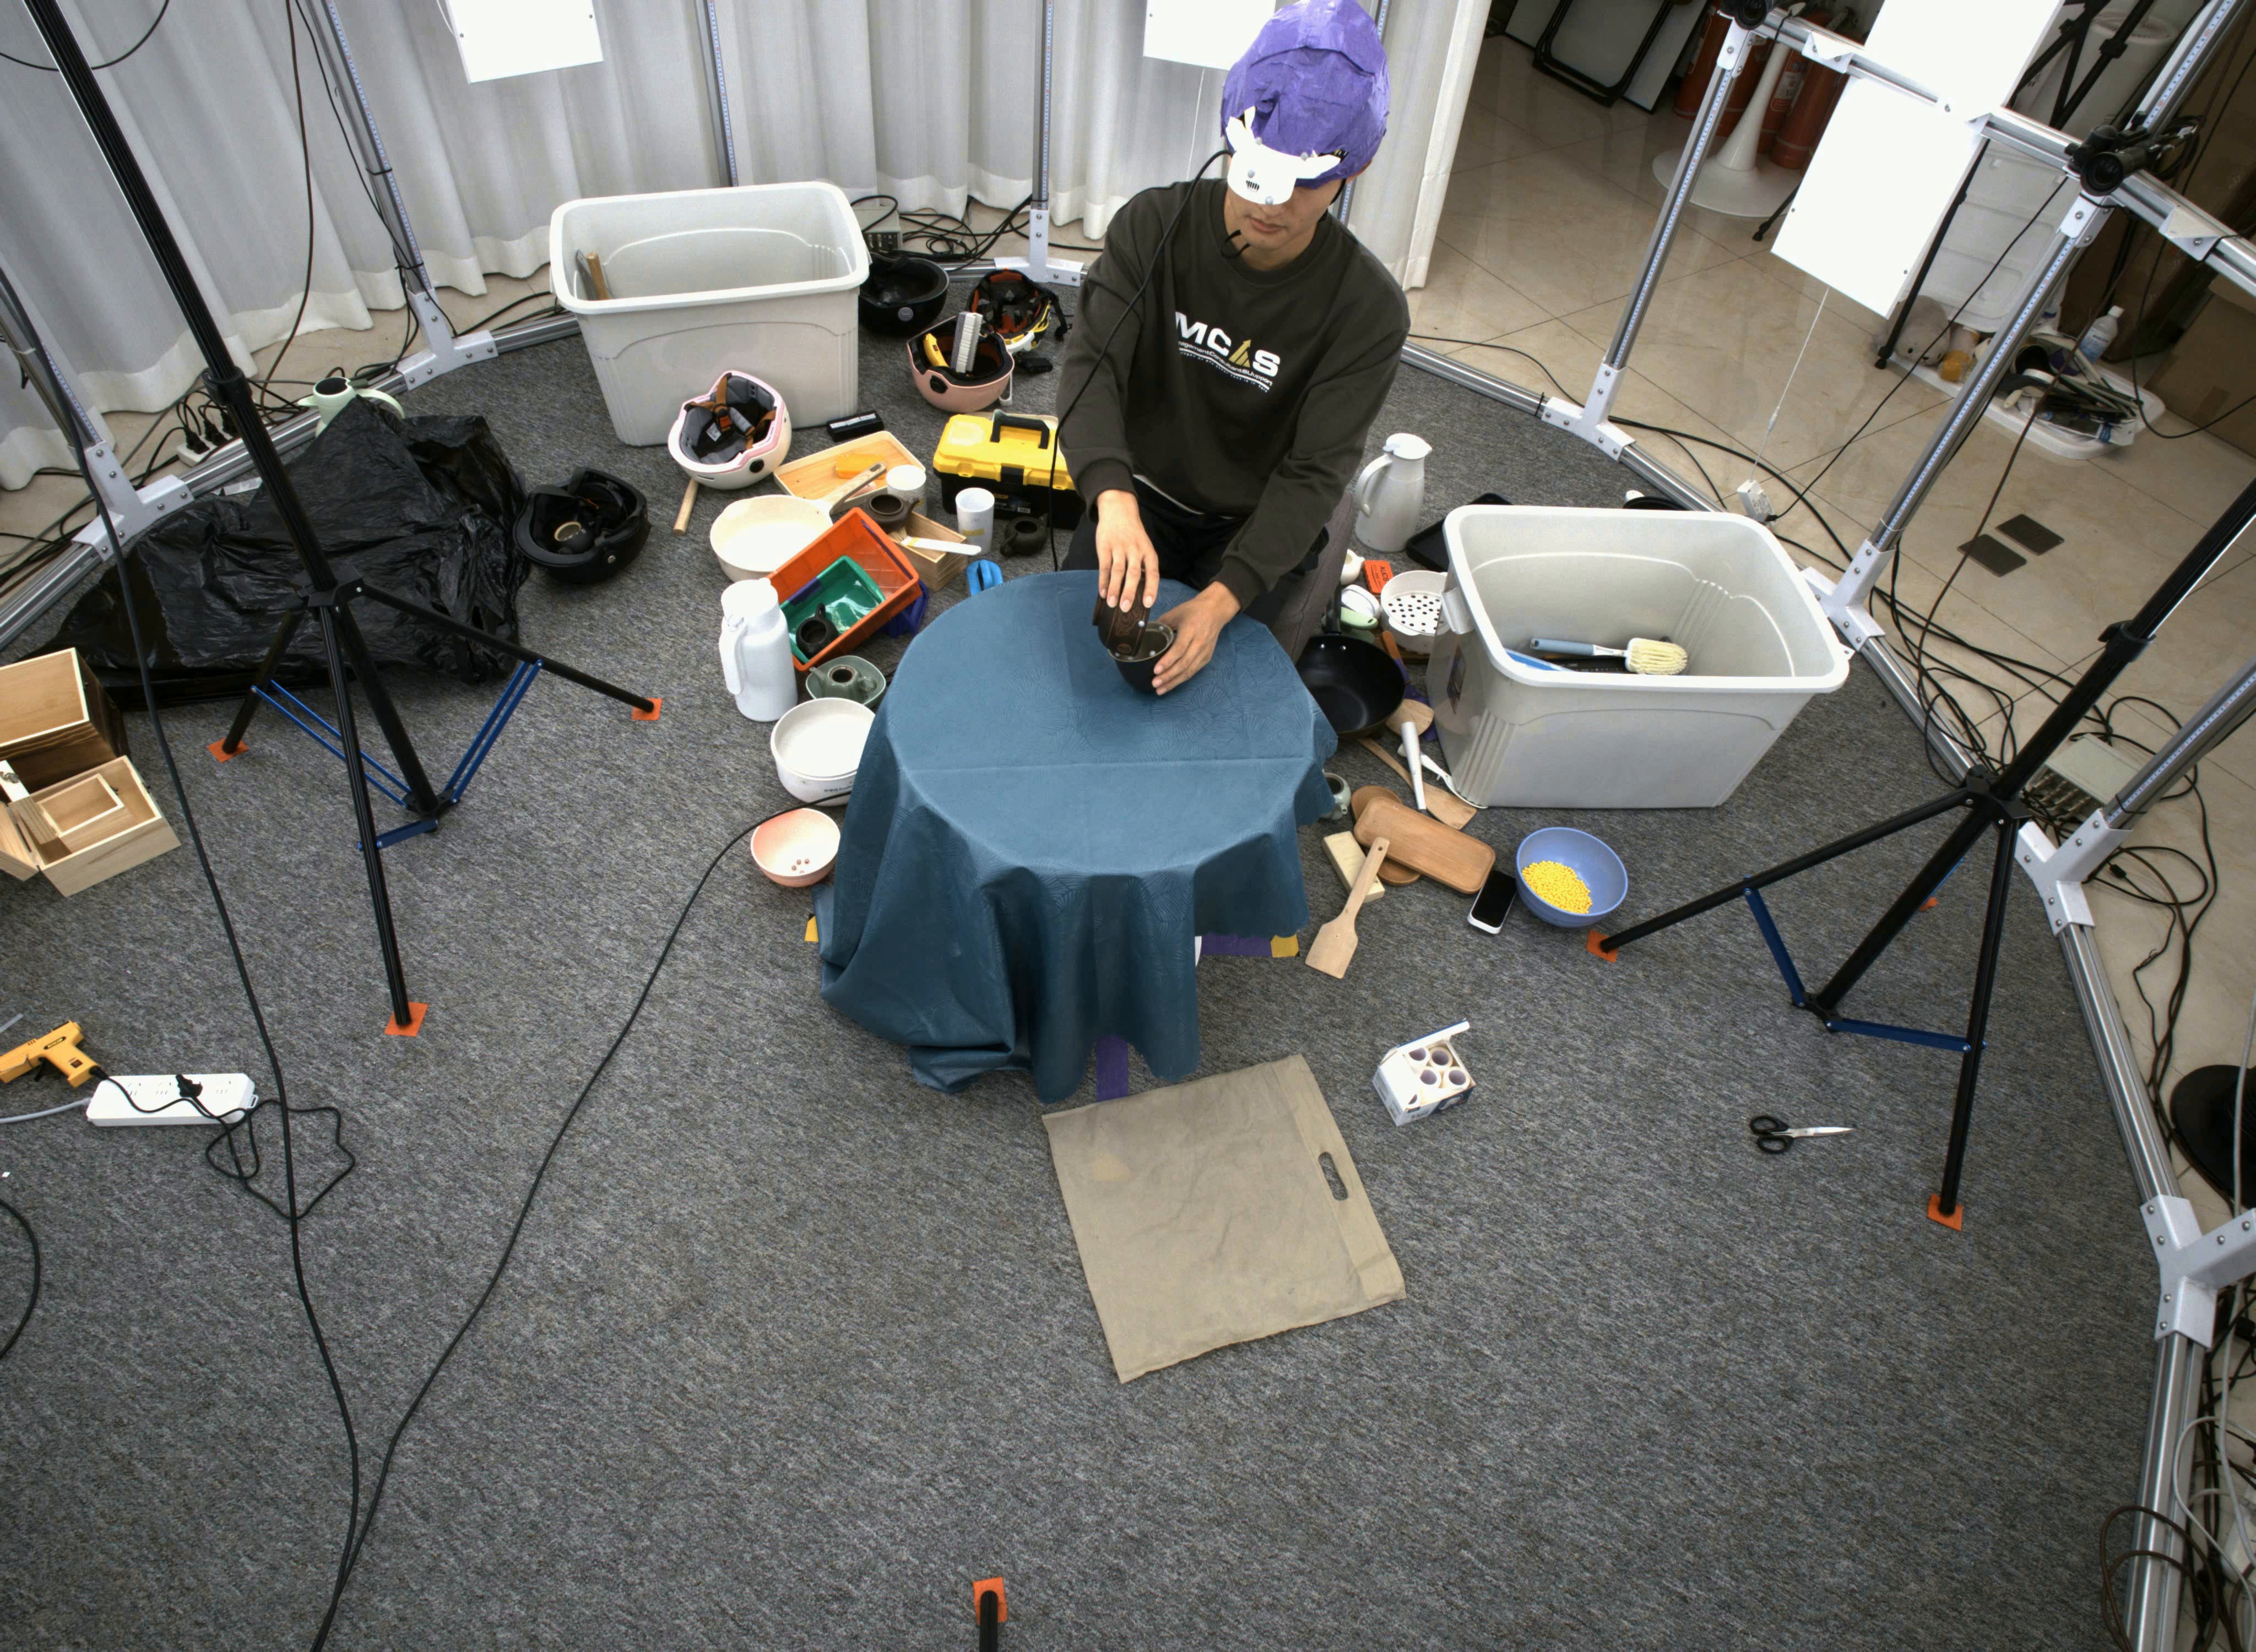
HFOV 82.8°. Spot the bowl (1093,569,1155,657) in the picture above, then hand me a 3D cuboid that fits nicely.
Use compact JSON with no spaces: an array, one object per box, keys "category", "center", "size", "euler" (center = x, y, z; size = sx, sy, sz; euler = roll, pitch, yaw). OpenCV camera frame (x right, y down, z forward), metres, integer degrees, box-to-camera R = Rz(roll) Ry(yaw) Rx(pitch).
[{"category":"bowl","center":[-0.009,-0.295,1.762],"size":[0.069,0.115,0.121],"euler":[11,49,-6]}]

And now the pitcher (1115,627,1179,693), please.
[{"category":"pitcher","center":[0.028,-0.232,1.817],"size":[0.096,0.069,0.085],"euler":[10,51,31]}]
